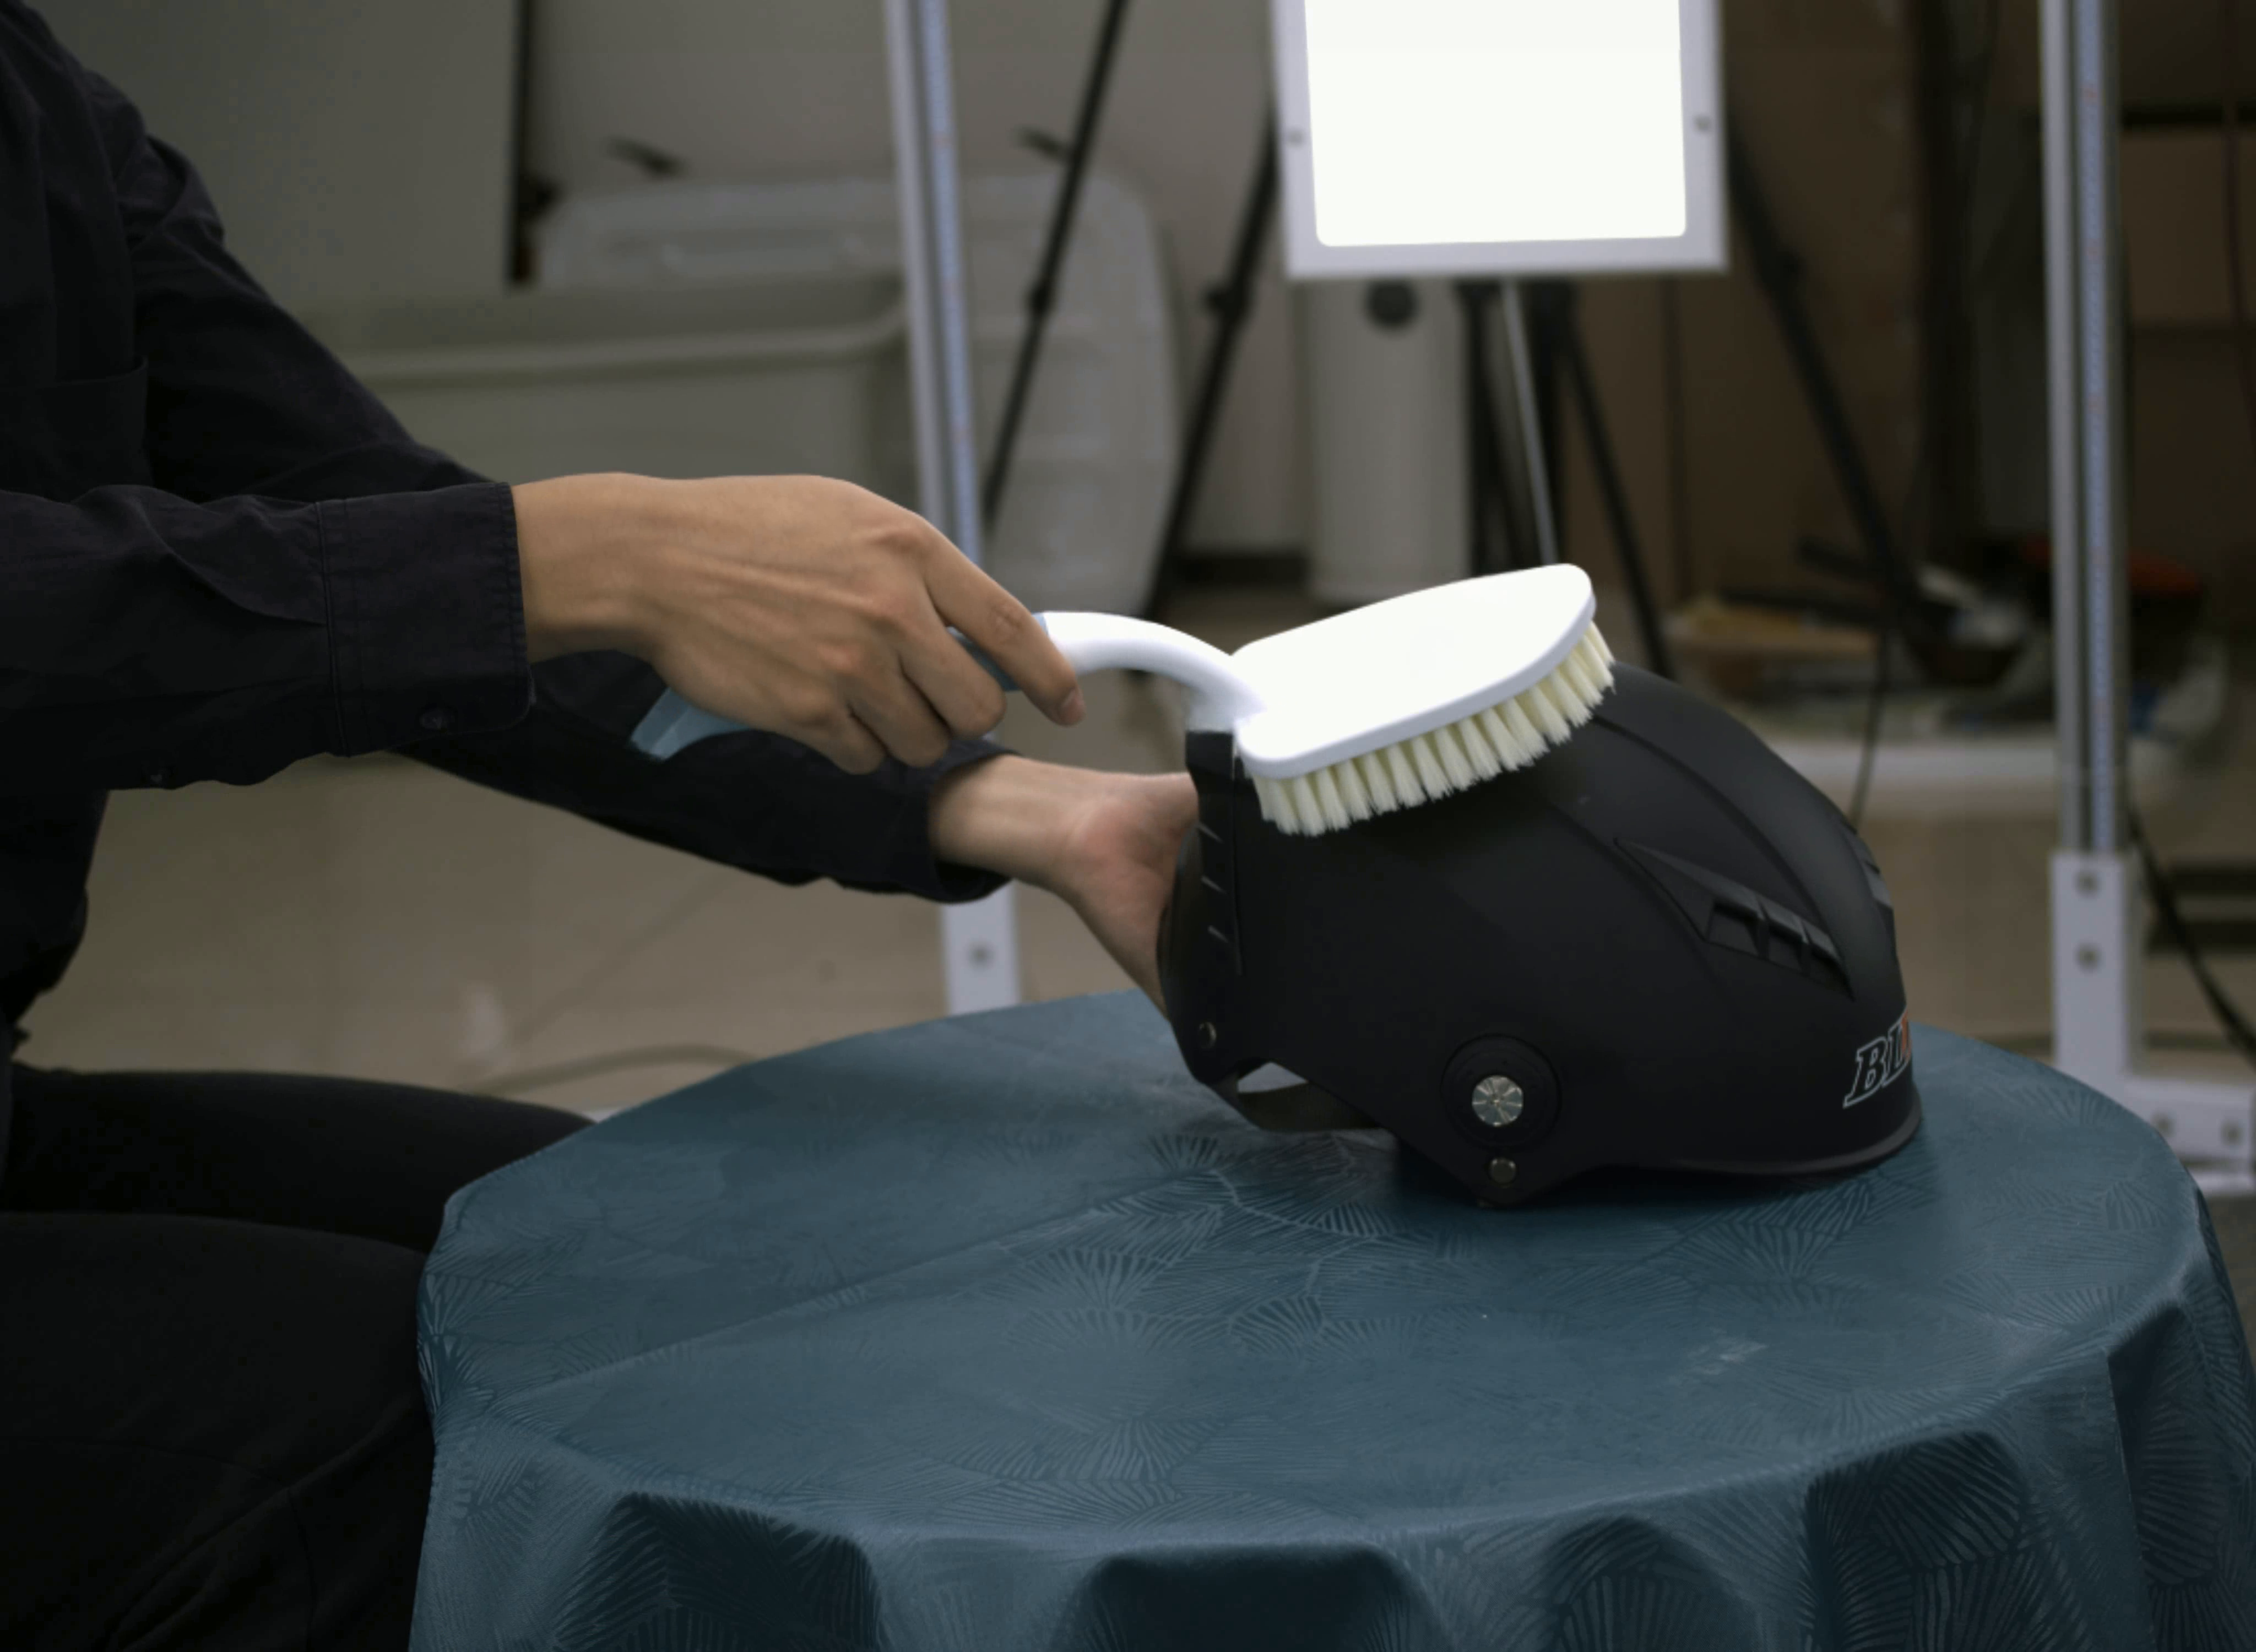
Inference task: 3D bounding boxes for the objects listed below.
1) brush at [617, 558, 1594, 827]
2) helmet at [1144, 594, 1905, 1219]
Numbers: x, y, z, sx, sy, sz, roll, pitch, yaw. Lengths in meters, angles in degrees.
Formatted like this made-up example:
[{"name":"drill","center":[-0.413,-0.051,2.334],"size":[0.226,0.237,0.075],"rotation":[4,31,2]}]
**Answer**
[{"name":"brush","center":[-0.005,-0.033,1.821],"size":[0.324,0.085,0.083],"rotation":[-8,-1,-2]},{"name":"helmet","center":[0.145,0.016,1.920],"size":[0.280,0.174,0.241],"rotation":[17,23,23]}]
